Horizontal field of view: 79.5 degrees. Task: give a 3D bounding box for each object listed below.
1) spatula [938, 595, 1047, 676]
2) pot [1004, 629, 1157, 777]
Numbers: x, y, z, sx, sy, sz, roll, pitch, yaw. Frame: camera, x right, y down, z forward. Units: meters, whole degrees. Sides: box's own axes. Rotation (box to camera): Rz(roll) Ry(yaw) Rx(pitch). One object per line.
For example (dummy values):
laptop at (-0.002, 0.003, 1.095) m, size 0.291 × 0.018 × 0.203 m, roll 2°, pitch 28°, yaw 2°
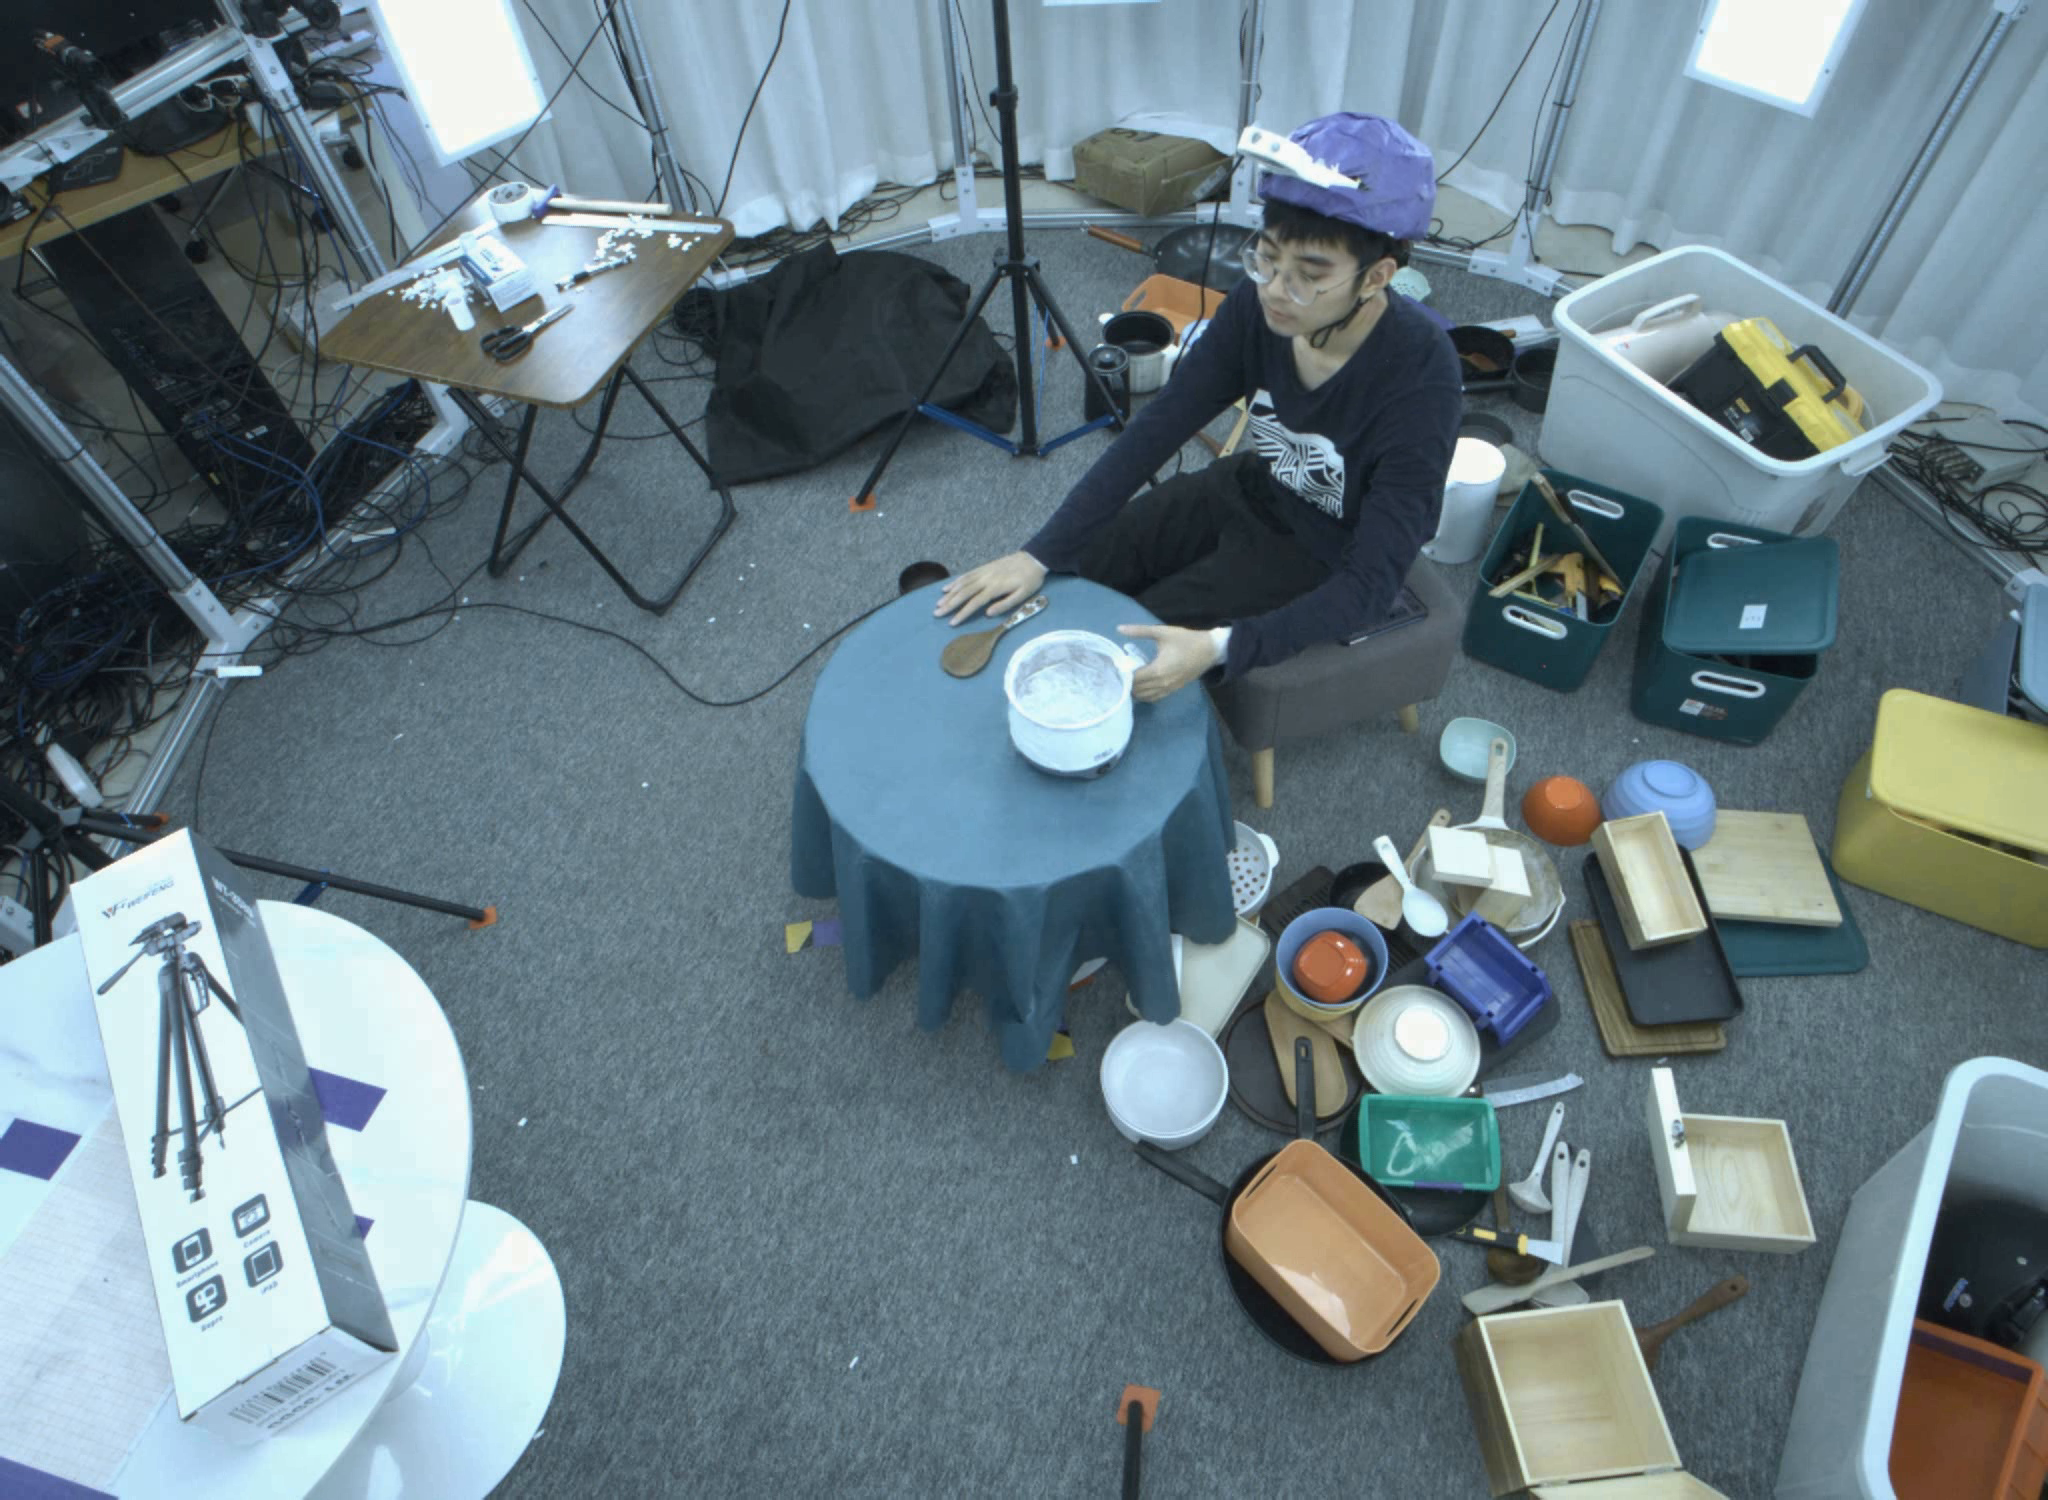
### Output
spatula at (-0.042, -0.182, 1.924) m, size 0.217 × 0.009 × 0.070 m, roll -38°, pitch 63°, yaw -24°
pot at (0.088, -0.076, 1.761) m, size 0.235 × 0.138 × 0.175 m, roll -30°, pitch 61°, yaw -16°
